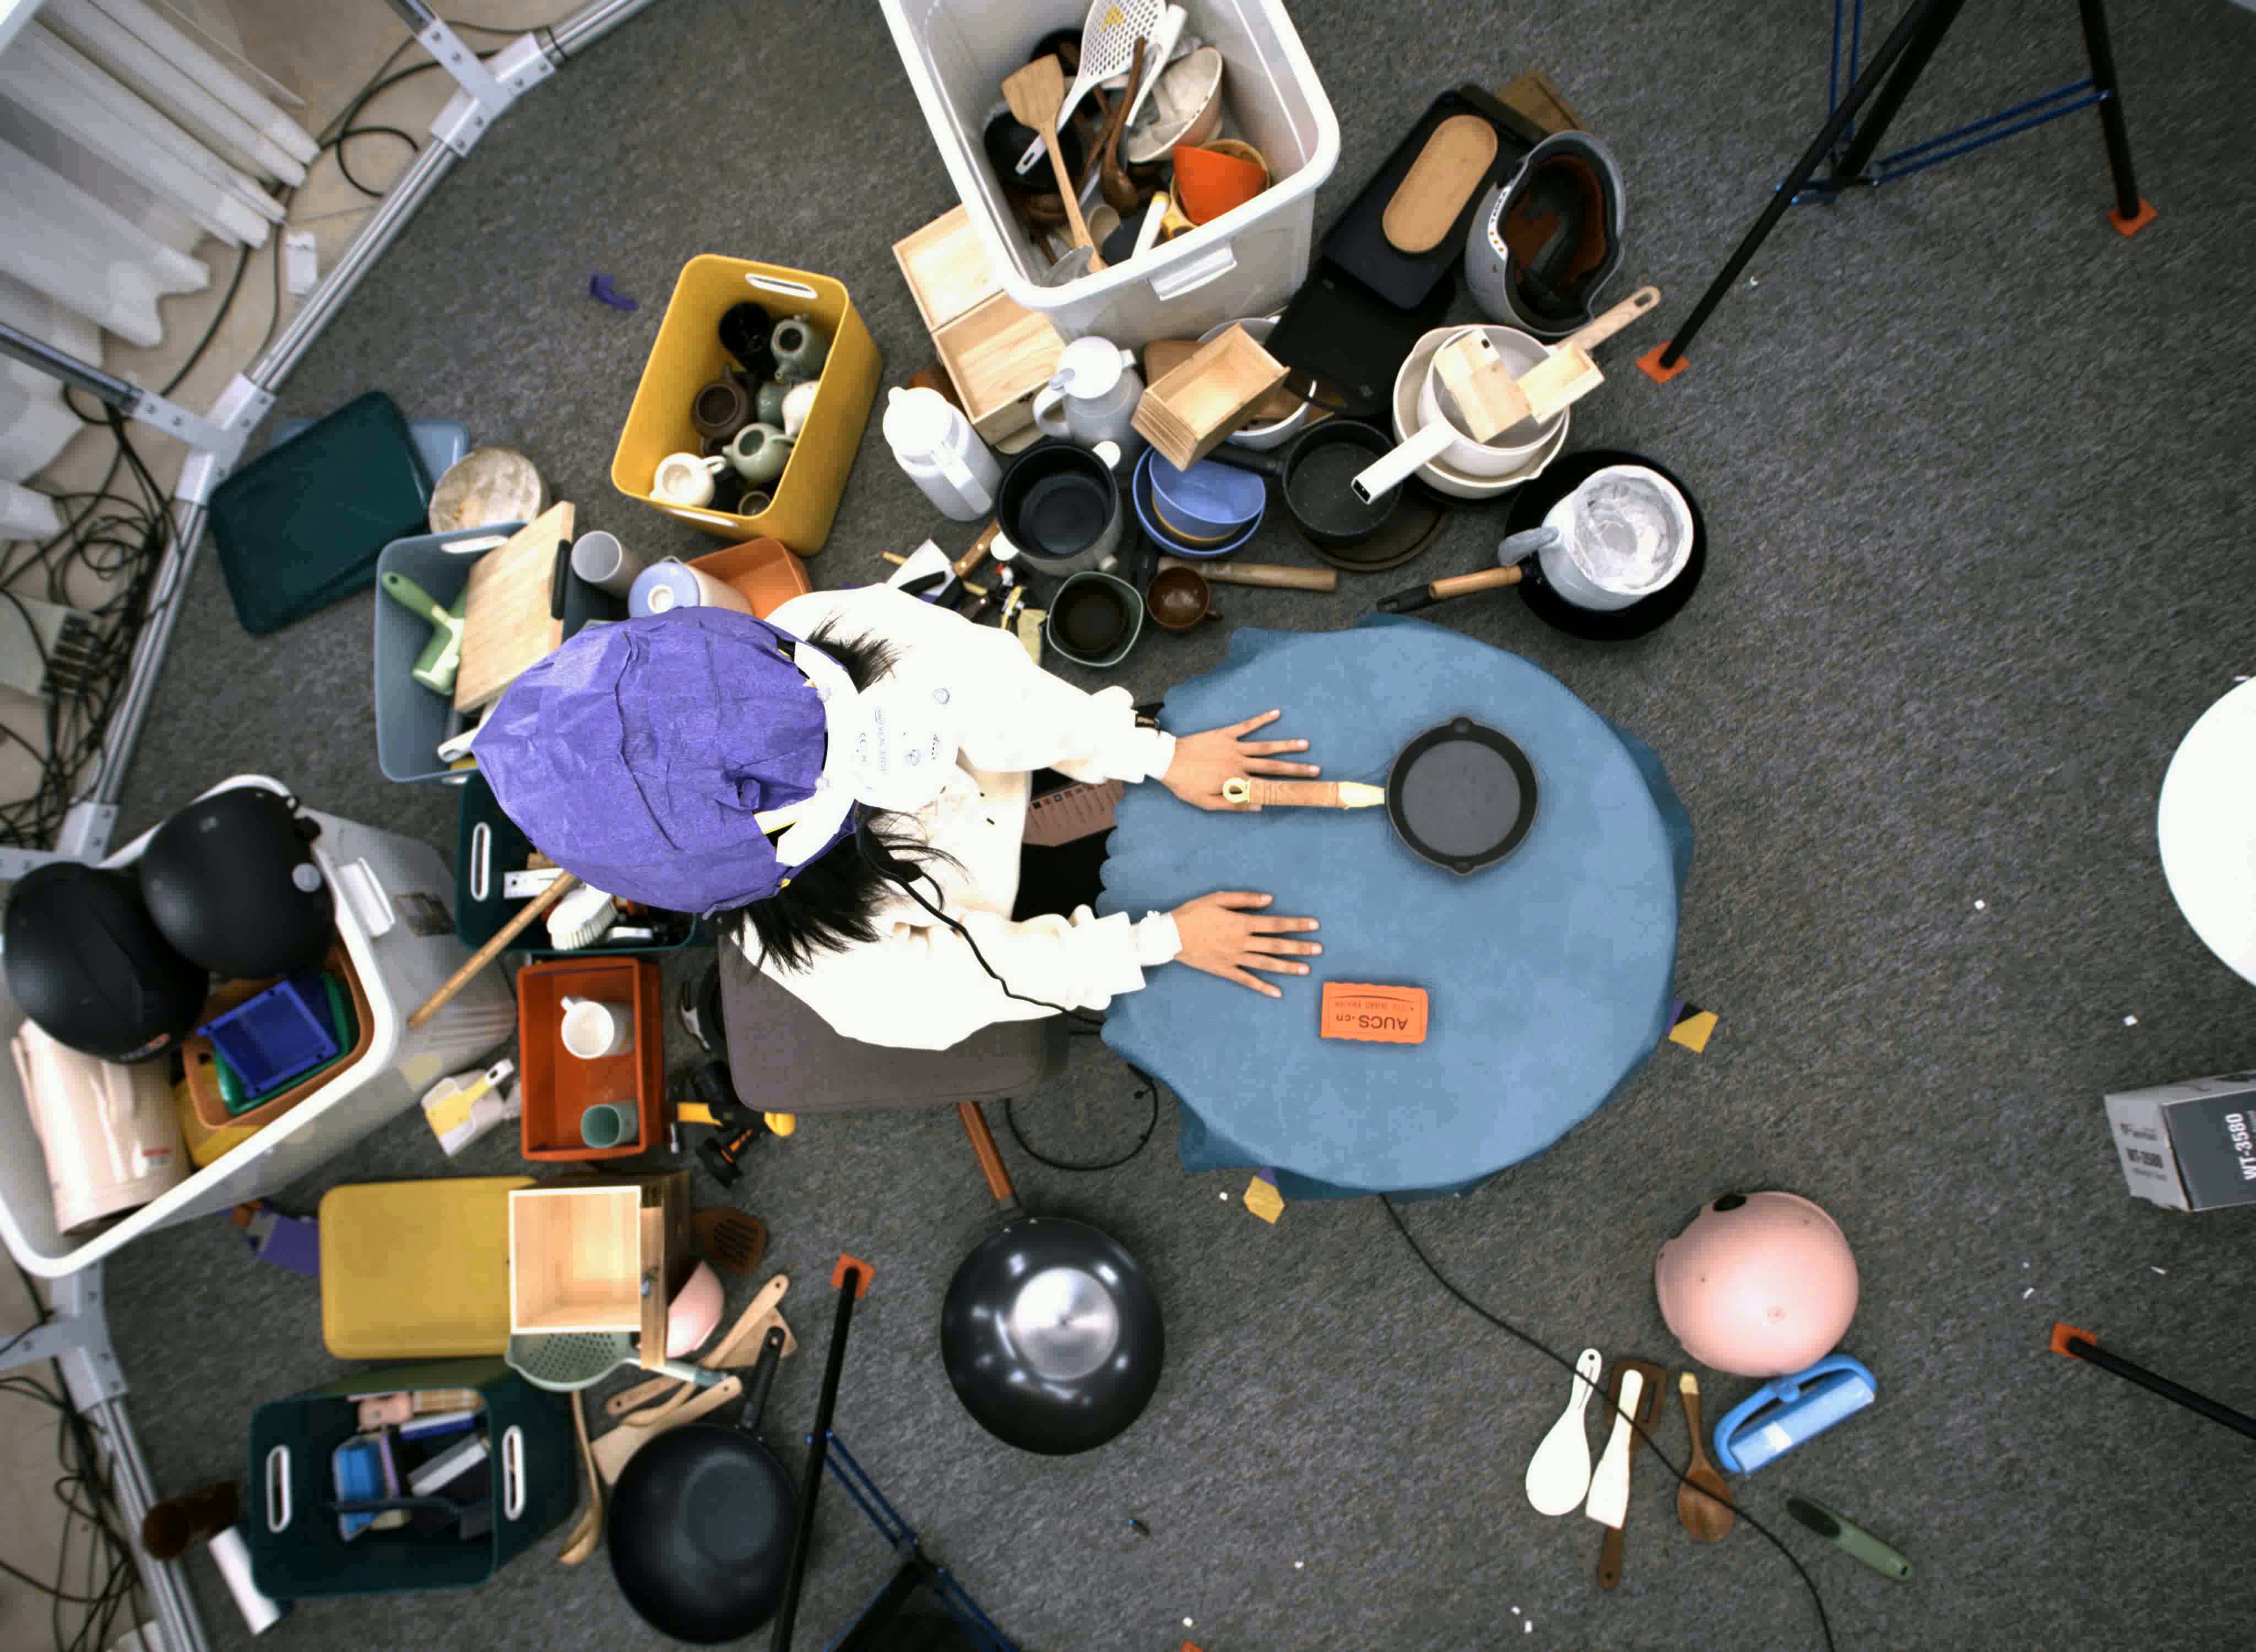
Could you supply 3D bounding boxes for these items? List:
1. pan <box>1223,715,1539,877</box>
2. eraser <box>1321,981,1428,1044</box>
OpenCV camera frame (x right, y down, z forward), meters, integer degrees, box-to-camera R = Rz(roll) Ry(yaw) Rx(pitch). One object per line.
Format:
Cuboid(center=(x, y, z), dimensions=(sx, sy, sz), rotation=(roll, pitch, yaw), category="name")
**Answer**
Cuboid(center=(0.263, -0.035, 1.442), dimensions=(0.325, 0.049, 0.168), rotation=(2, 87, 9), category="pan")
Cuboid(center=(0.257, 0.193, 1.444), dimensions=(0.108, 0.023, 0.059), rotation=(4, 87, 10), category="eraser")
